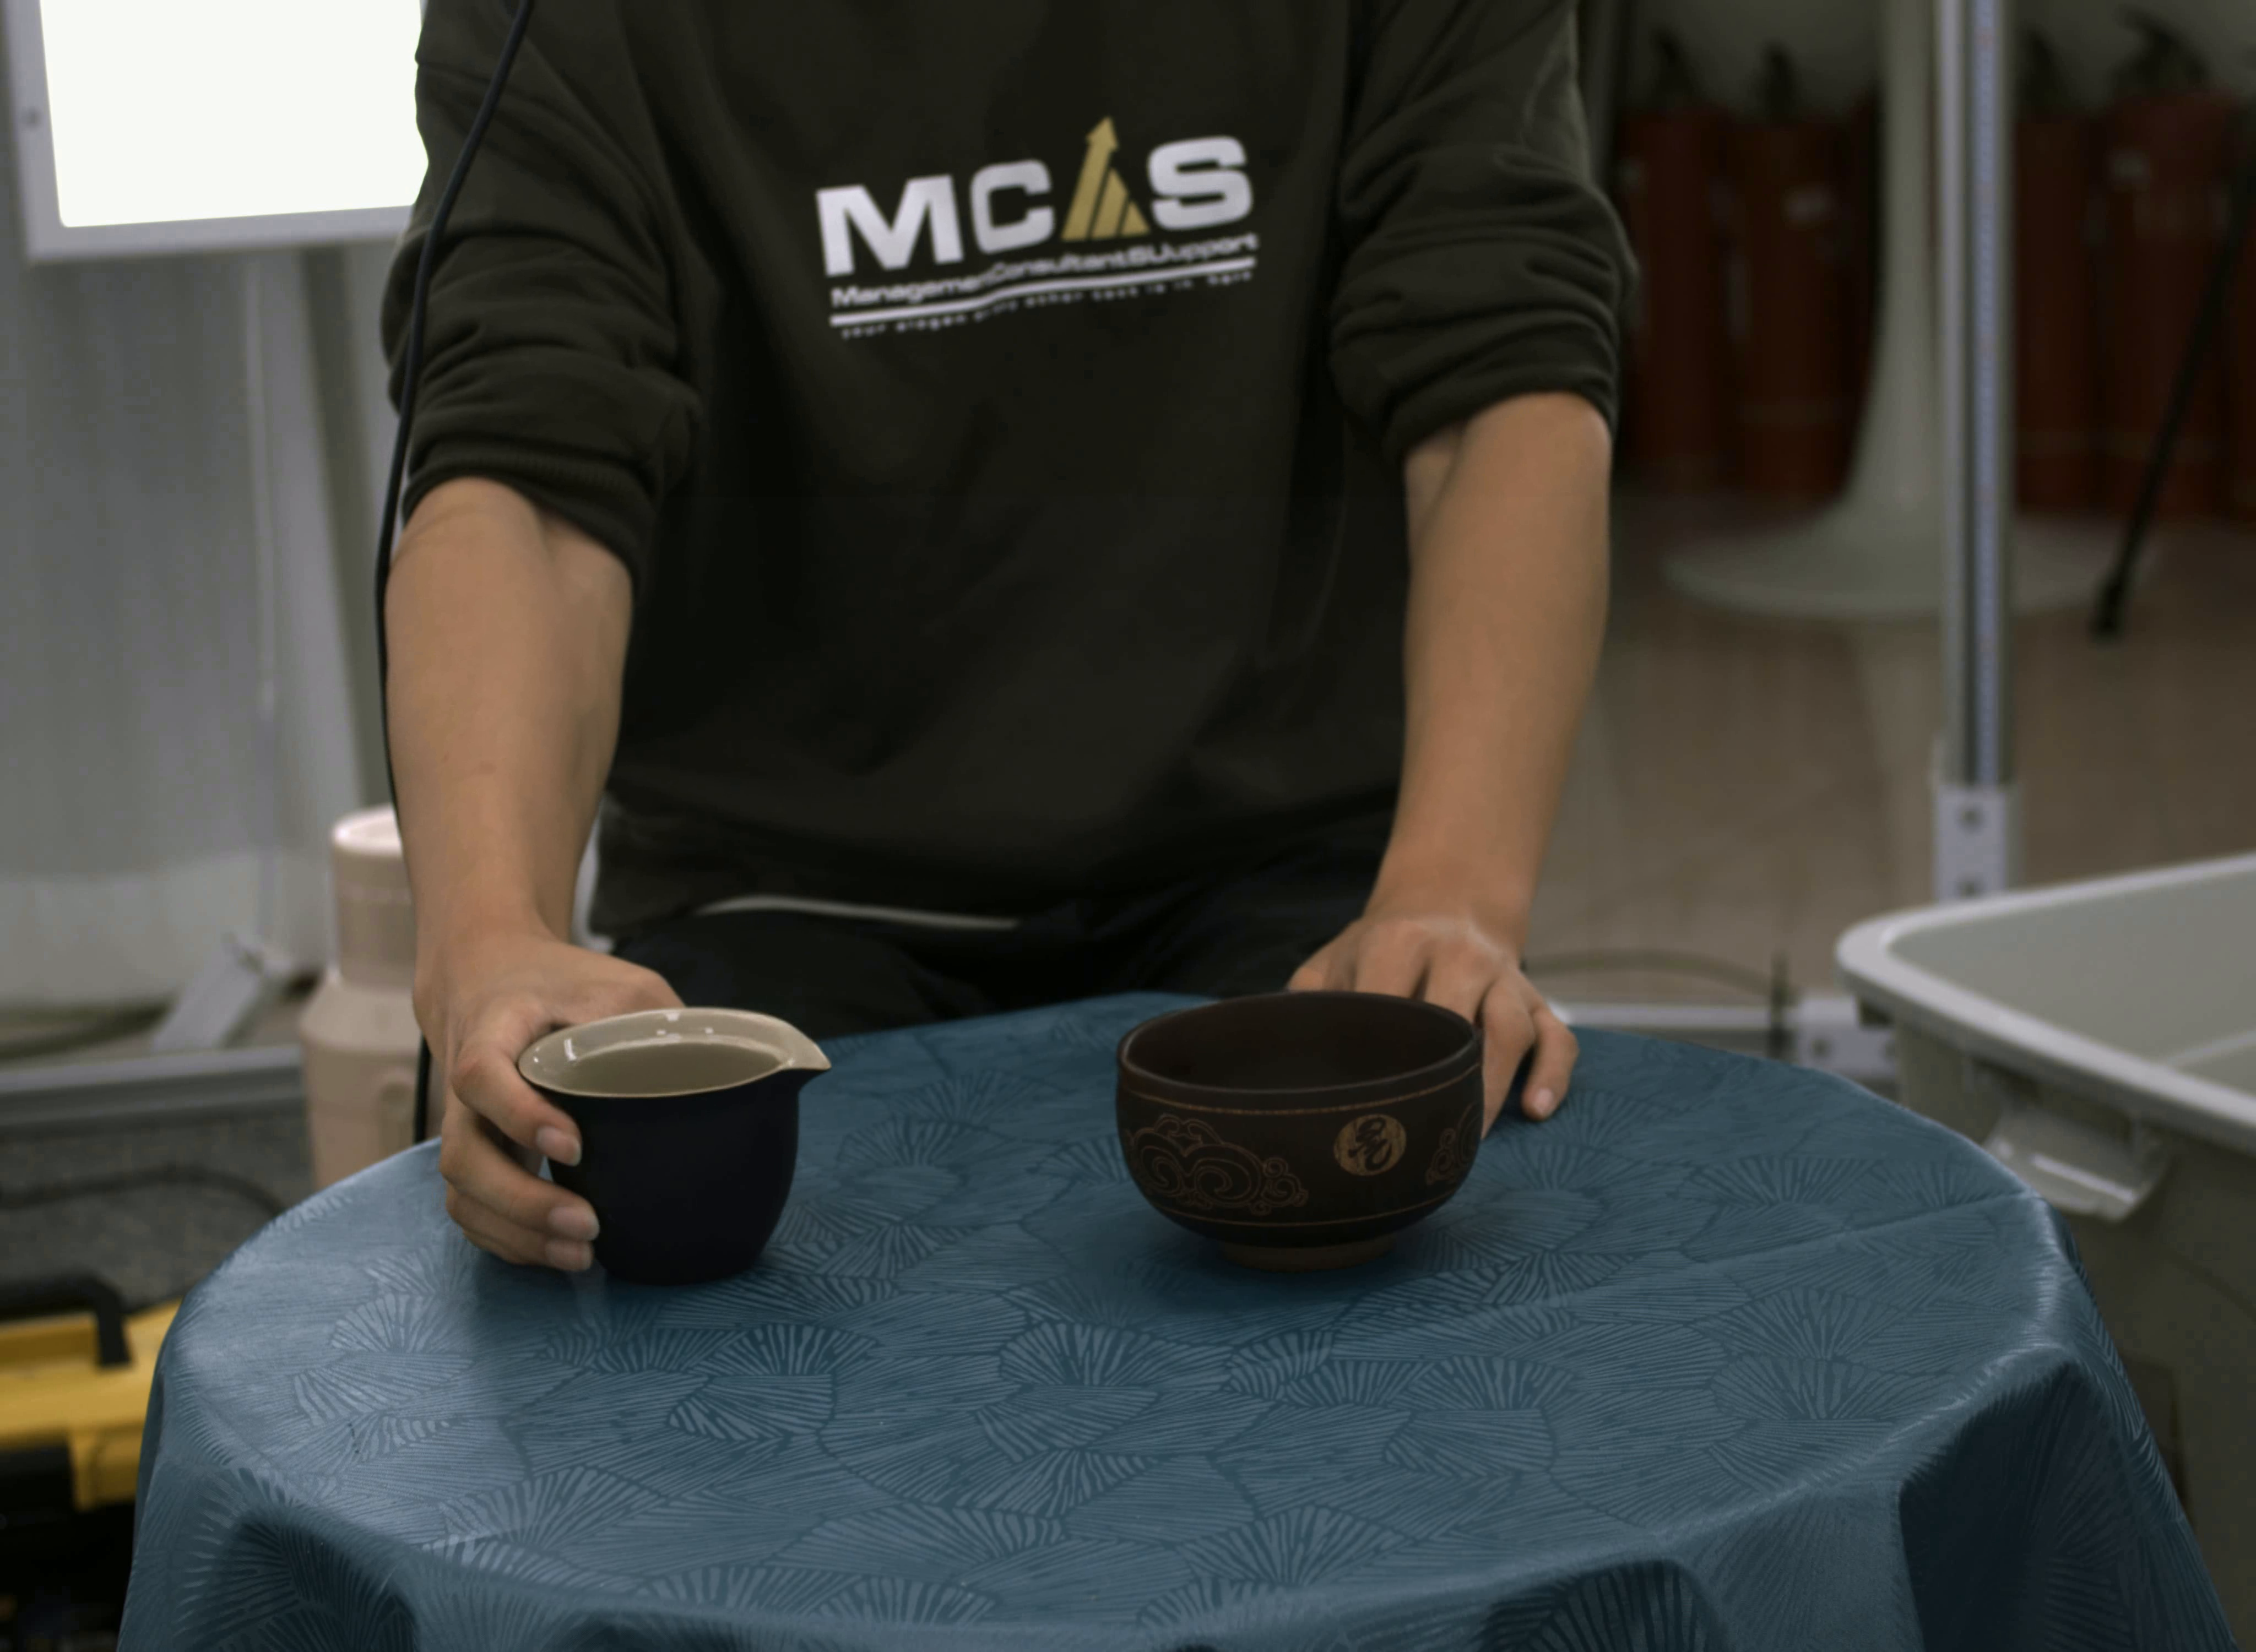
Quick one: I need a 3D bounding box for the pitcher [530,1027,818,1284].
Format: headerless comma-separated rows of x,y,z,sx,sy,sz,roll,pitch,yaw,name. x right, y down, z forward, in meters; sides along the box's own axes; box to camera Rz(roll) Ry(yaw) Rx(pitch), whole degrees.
-0.141,0.104,1.723,0.096,0.072,0.083,2,14,21,pitcher

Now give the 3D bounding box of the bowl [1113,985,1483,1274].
0.055,0.099,1.701,0.116,0.070,0.118,-5,15,0,bowl
